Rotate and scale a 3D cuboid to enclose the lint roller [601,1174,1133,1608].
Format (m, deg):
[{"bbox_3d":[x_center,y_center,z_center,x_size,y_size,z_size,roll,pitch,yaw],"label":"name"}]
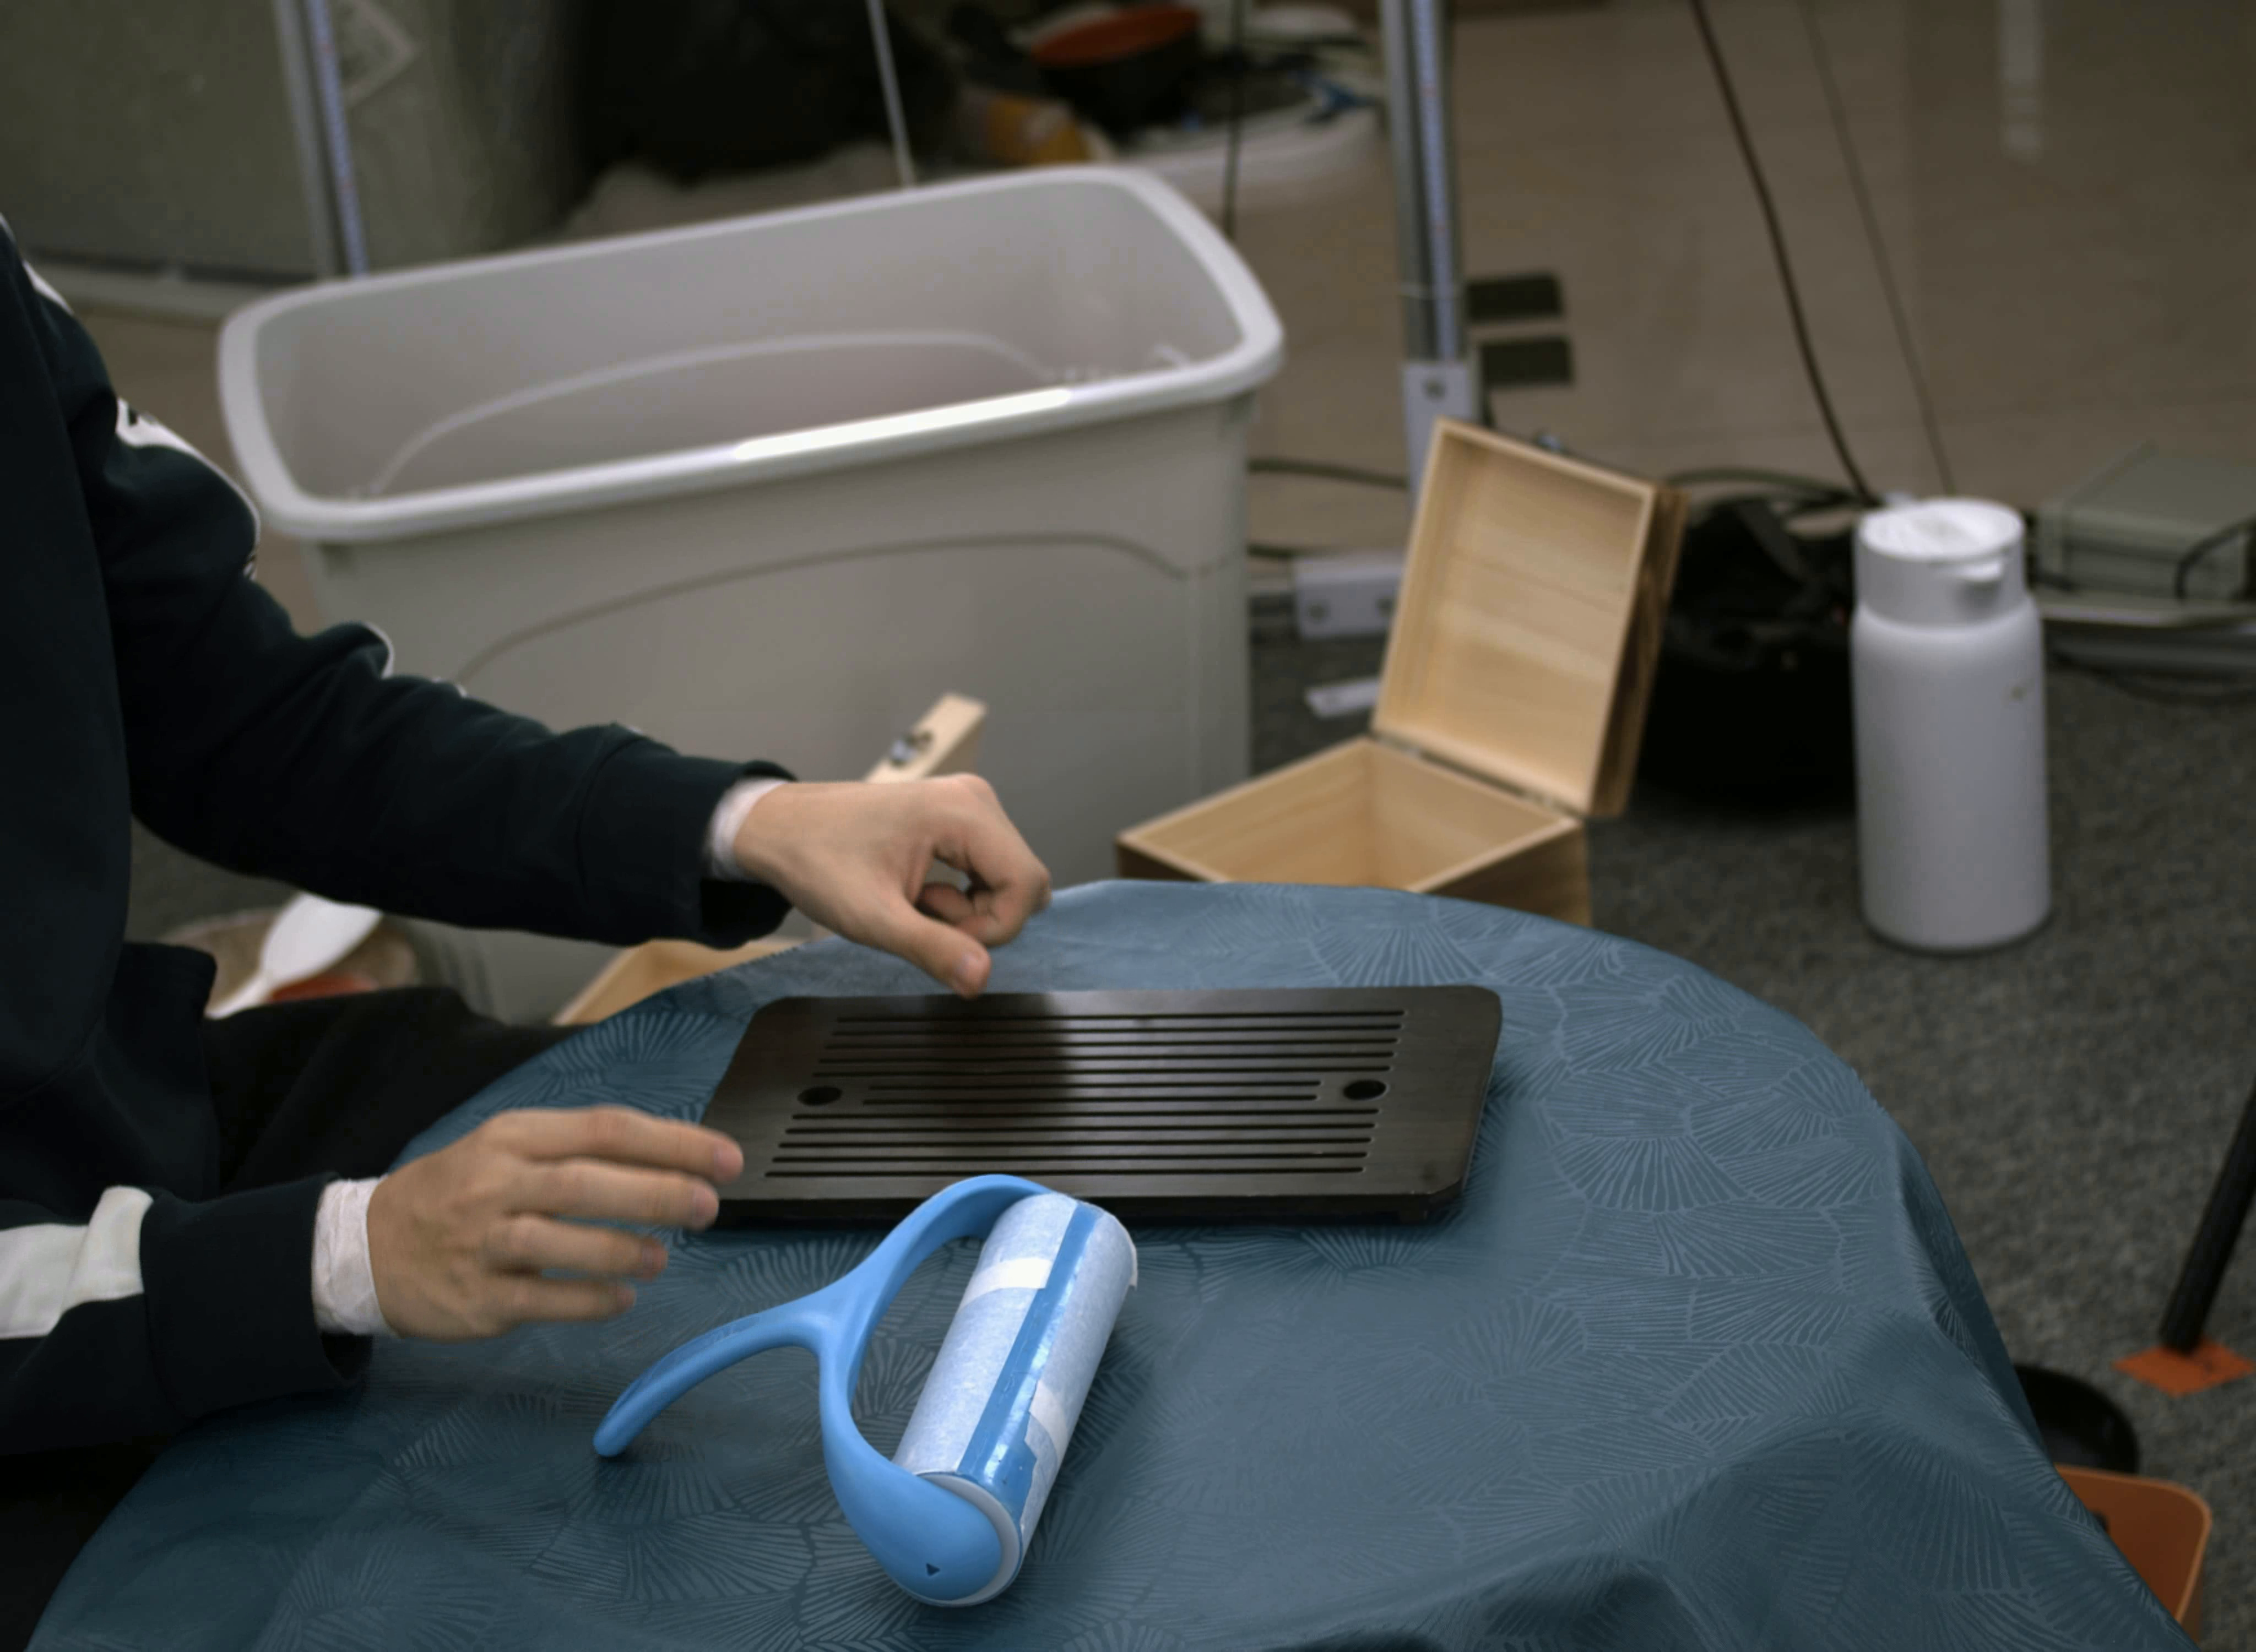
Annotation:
[{"bbox_3d":[-0.100,0.195,1.979,0.180,0.069,0.225,0,28,9],"label":"lint roller"}]

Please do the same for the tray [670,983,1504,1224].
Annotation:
[{"bbox_3d":[-0.013,0.108,2.192,0.305,0.019,0.167,-1,26,11],"label":"tray"}]
